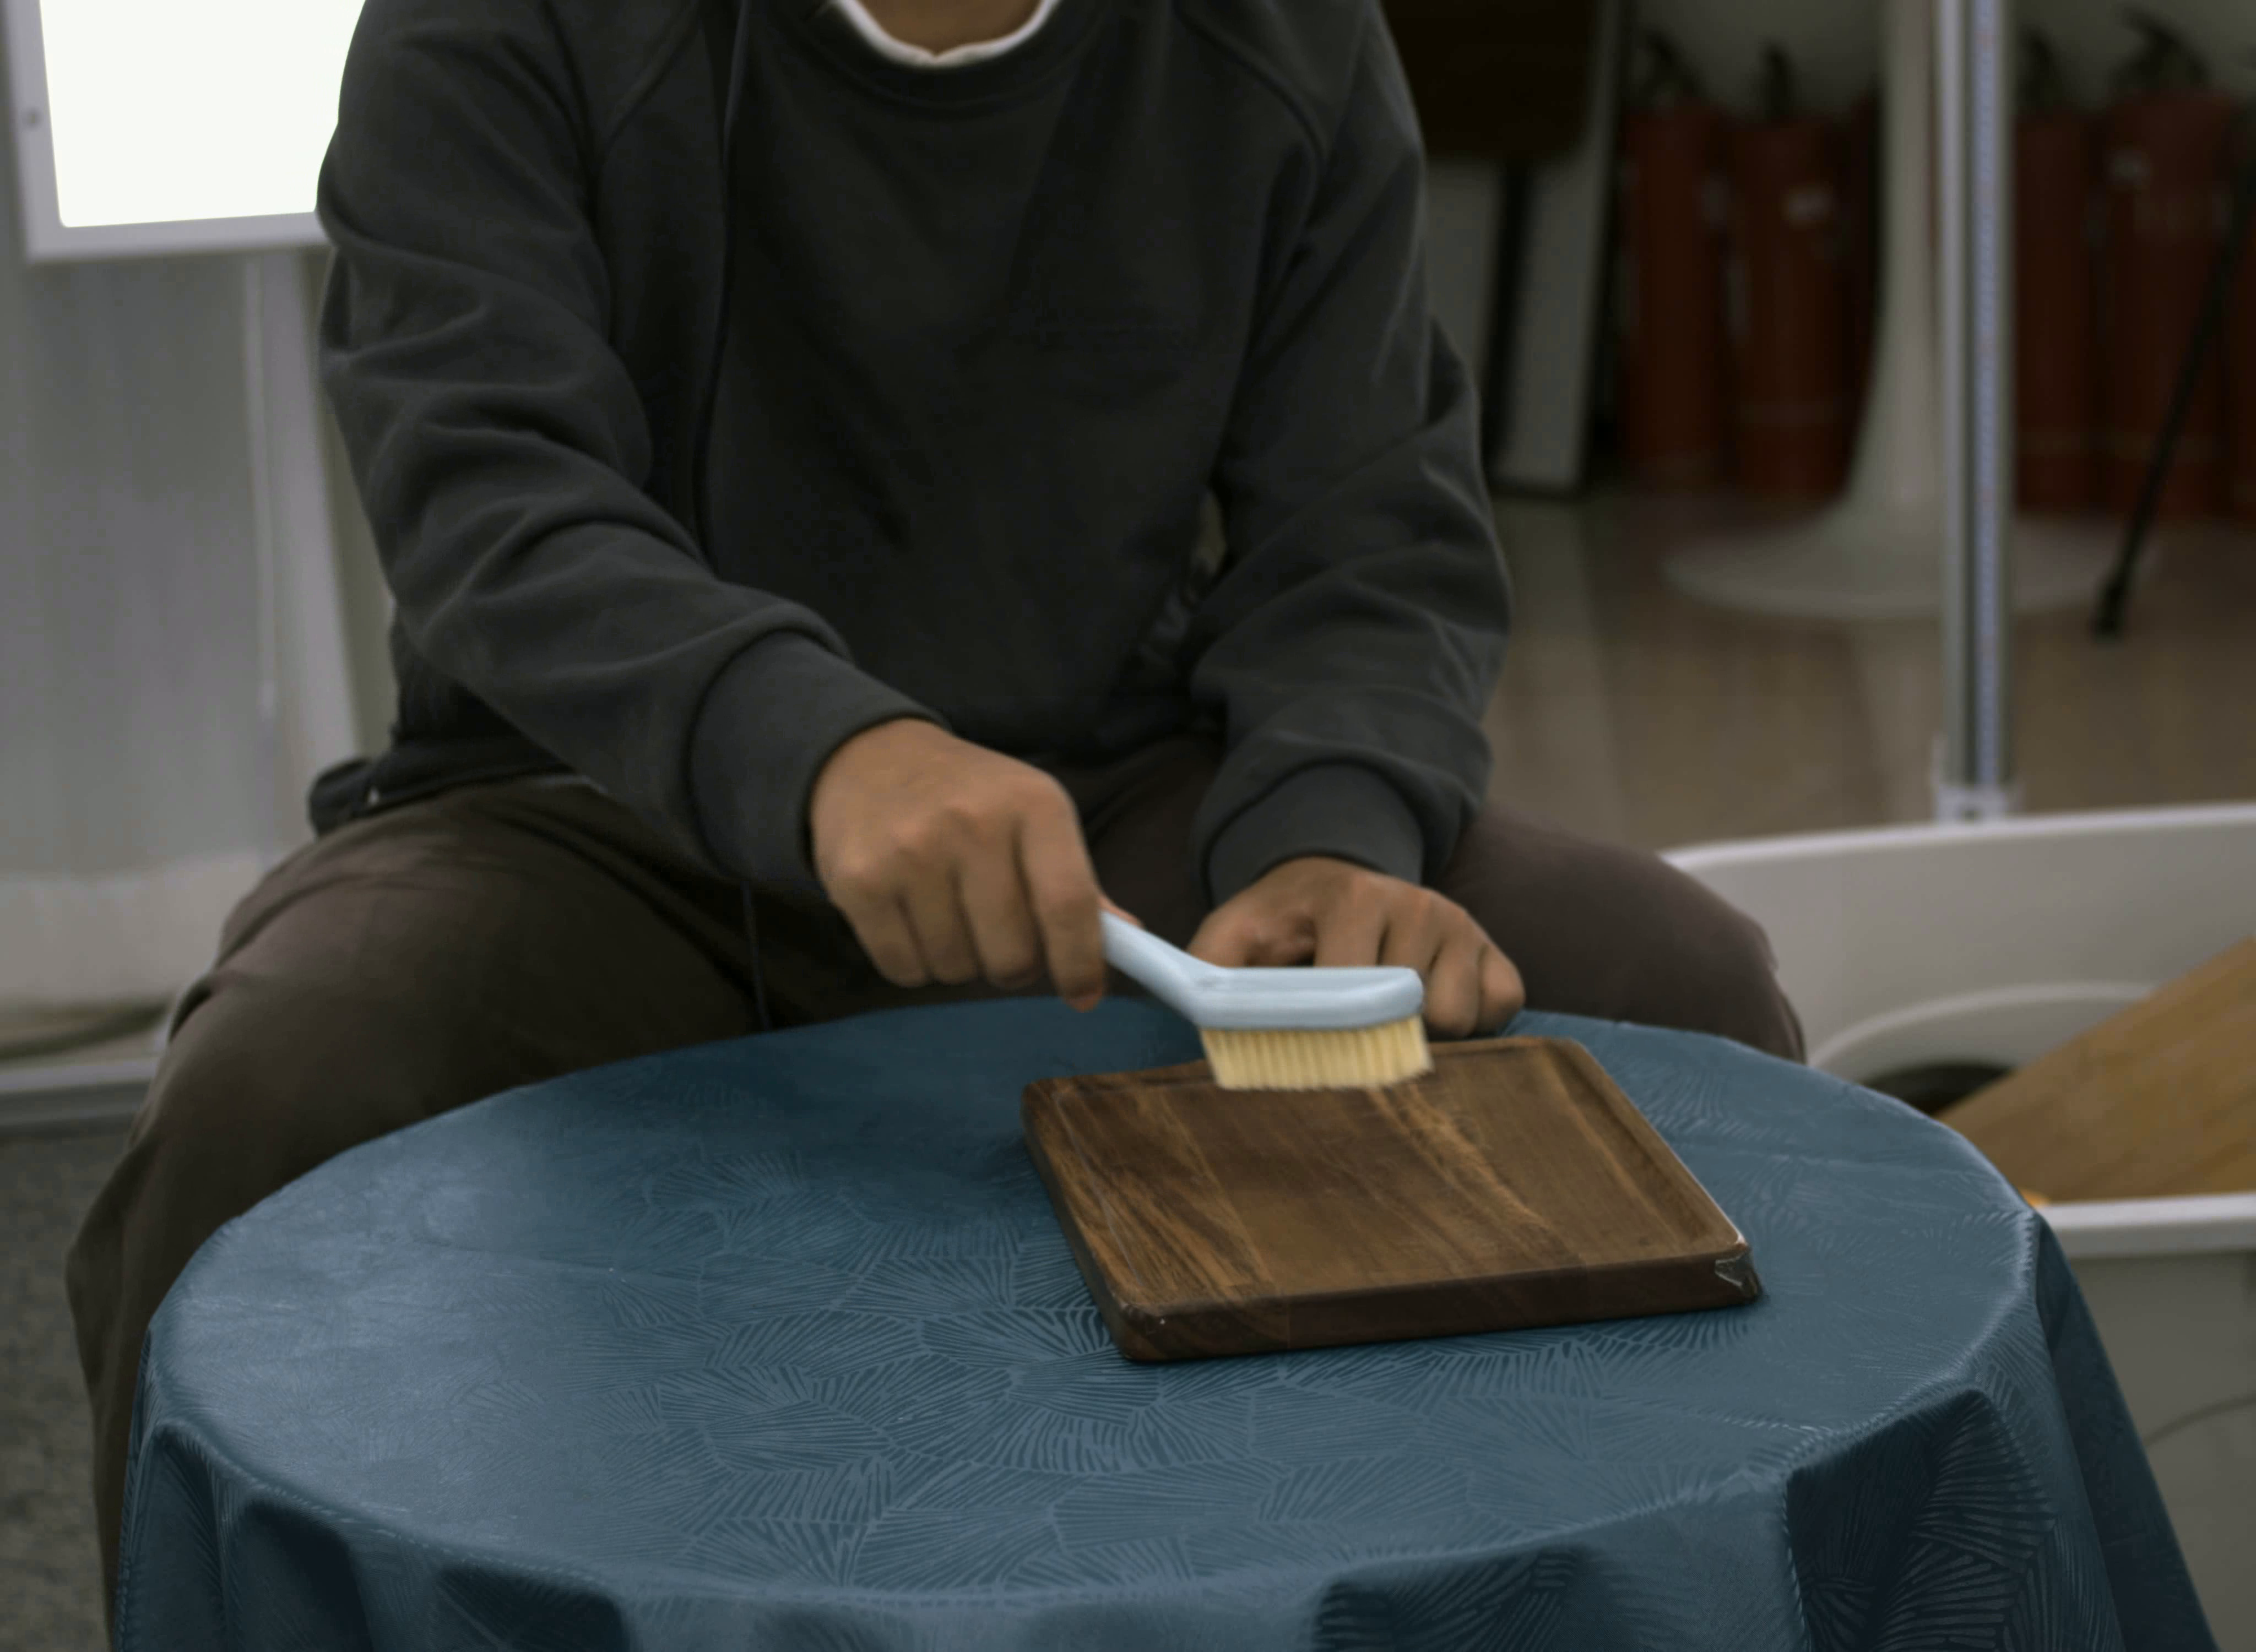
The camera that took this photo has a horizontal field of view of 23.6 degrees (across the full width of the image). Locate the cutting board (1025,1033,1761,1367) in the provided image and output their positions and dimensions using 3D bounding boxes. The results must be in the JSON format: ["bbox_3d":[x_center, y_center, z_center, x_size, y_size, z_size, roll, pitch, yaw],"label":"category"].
[{"bbox_3d":[0.072,0.105,1.778,0.198,0.023,0.354,-5,14,-6],"label":"cutting board"}]

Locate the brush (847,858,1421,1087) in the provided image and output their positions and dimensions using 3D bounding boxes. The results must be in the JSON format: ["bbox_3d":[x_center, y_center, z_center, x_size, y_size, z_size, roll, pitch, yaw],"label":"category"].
[{"bbox_3d":[-0.001,0.049,1.770,0.230,0.050,0.037,13,23,35],"label":"brush"}]
